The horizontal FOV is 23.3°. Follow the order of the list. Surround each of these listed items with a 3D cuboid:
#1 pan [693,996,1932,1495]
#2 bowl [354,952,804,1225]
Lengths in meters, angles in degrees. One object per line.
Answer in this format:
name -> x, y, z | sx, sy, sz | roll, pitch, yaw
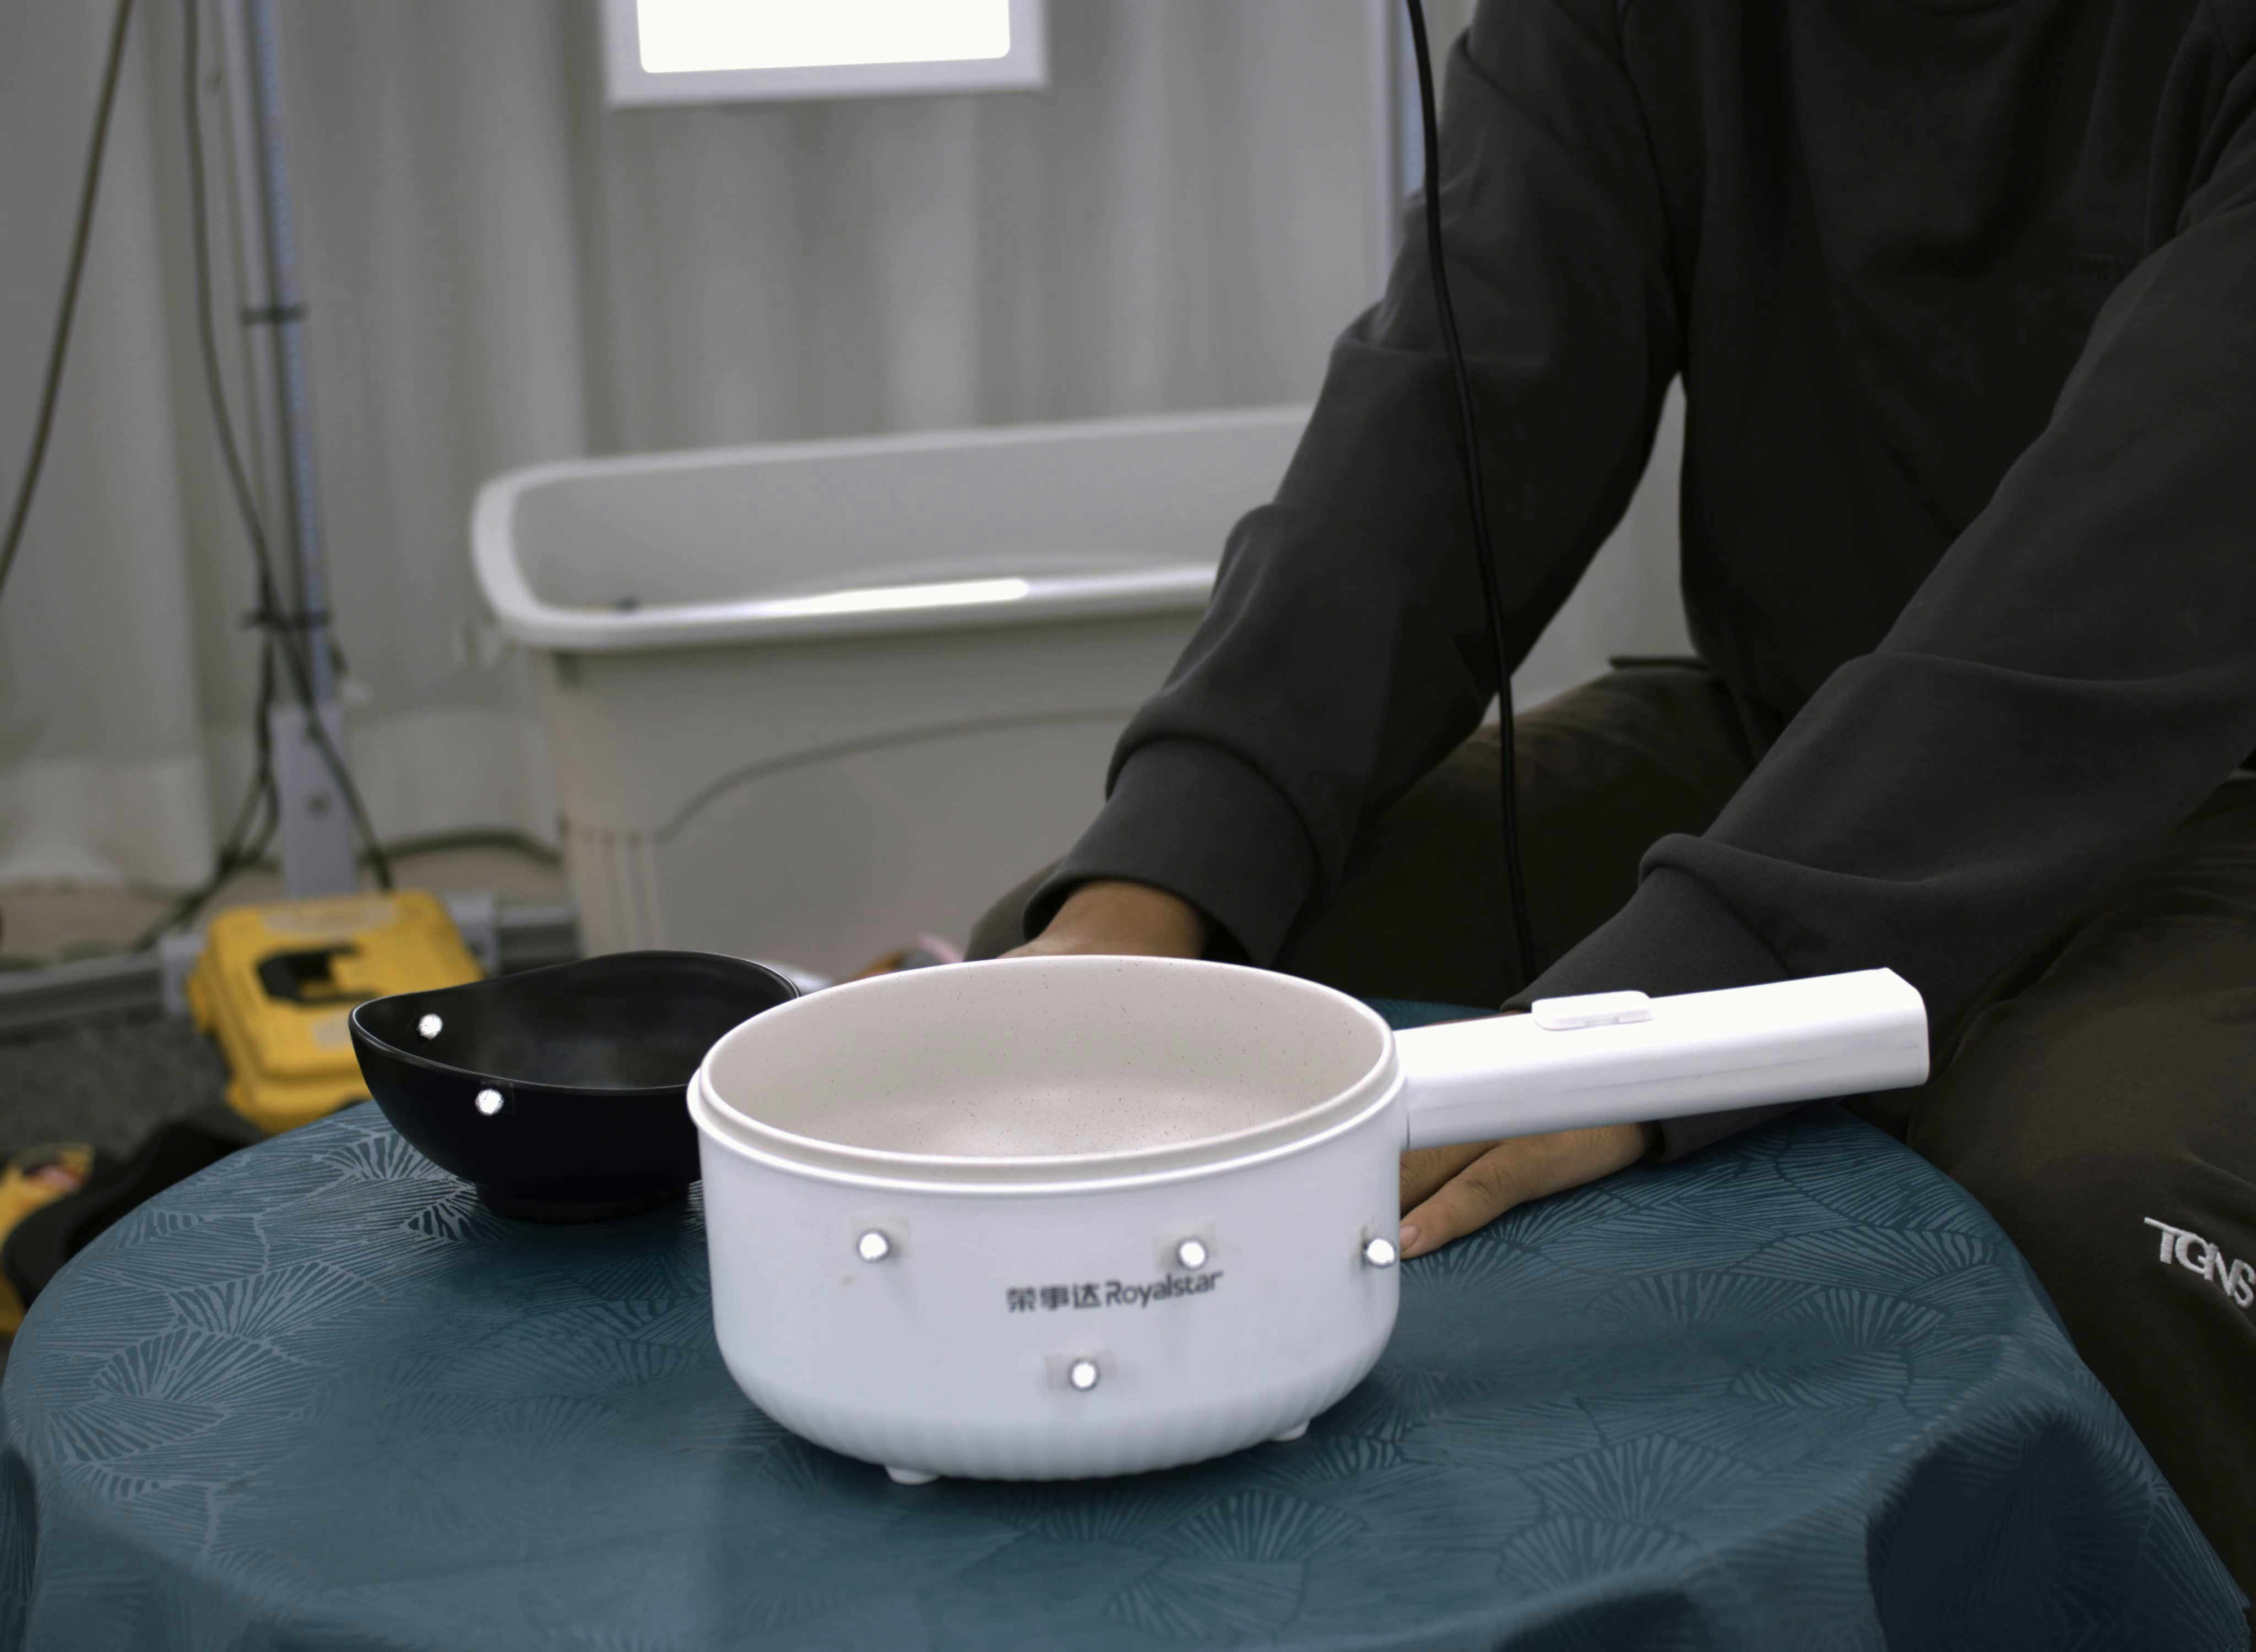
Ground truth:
pan -> 0.054, 0.114, 1.553 | 0.353, 0.102, 0.202 | -4, 11, -12
bowl -> -0.173, 0.086, 1.730 | 0.137, 0.066, 0.171 | -11, 15, -30
